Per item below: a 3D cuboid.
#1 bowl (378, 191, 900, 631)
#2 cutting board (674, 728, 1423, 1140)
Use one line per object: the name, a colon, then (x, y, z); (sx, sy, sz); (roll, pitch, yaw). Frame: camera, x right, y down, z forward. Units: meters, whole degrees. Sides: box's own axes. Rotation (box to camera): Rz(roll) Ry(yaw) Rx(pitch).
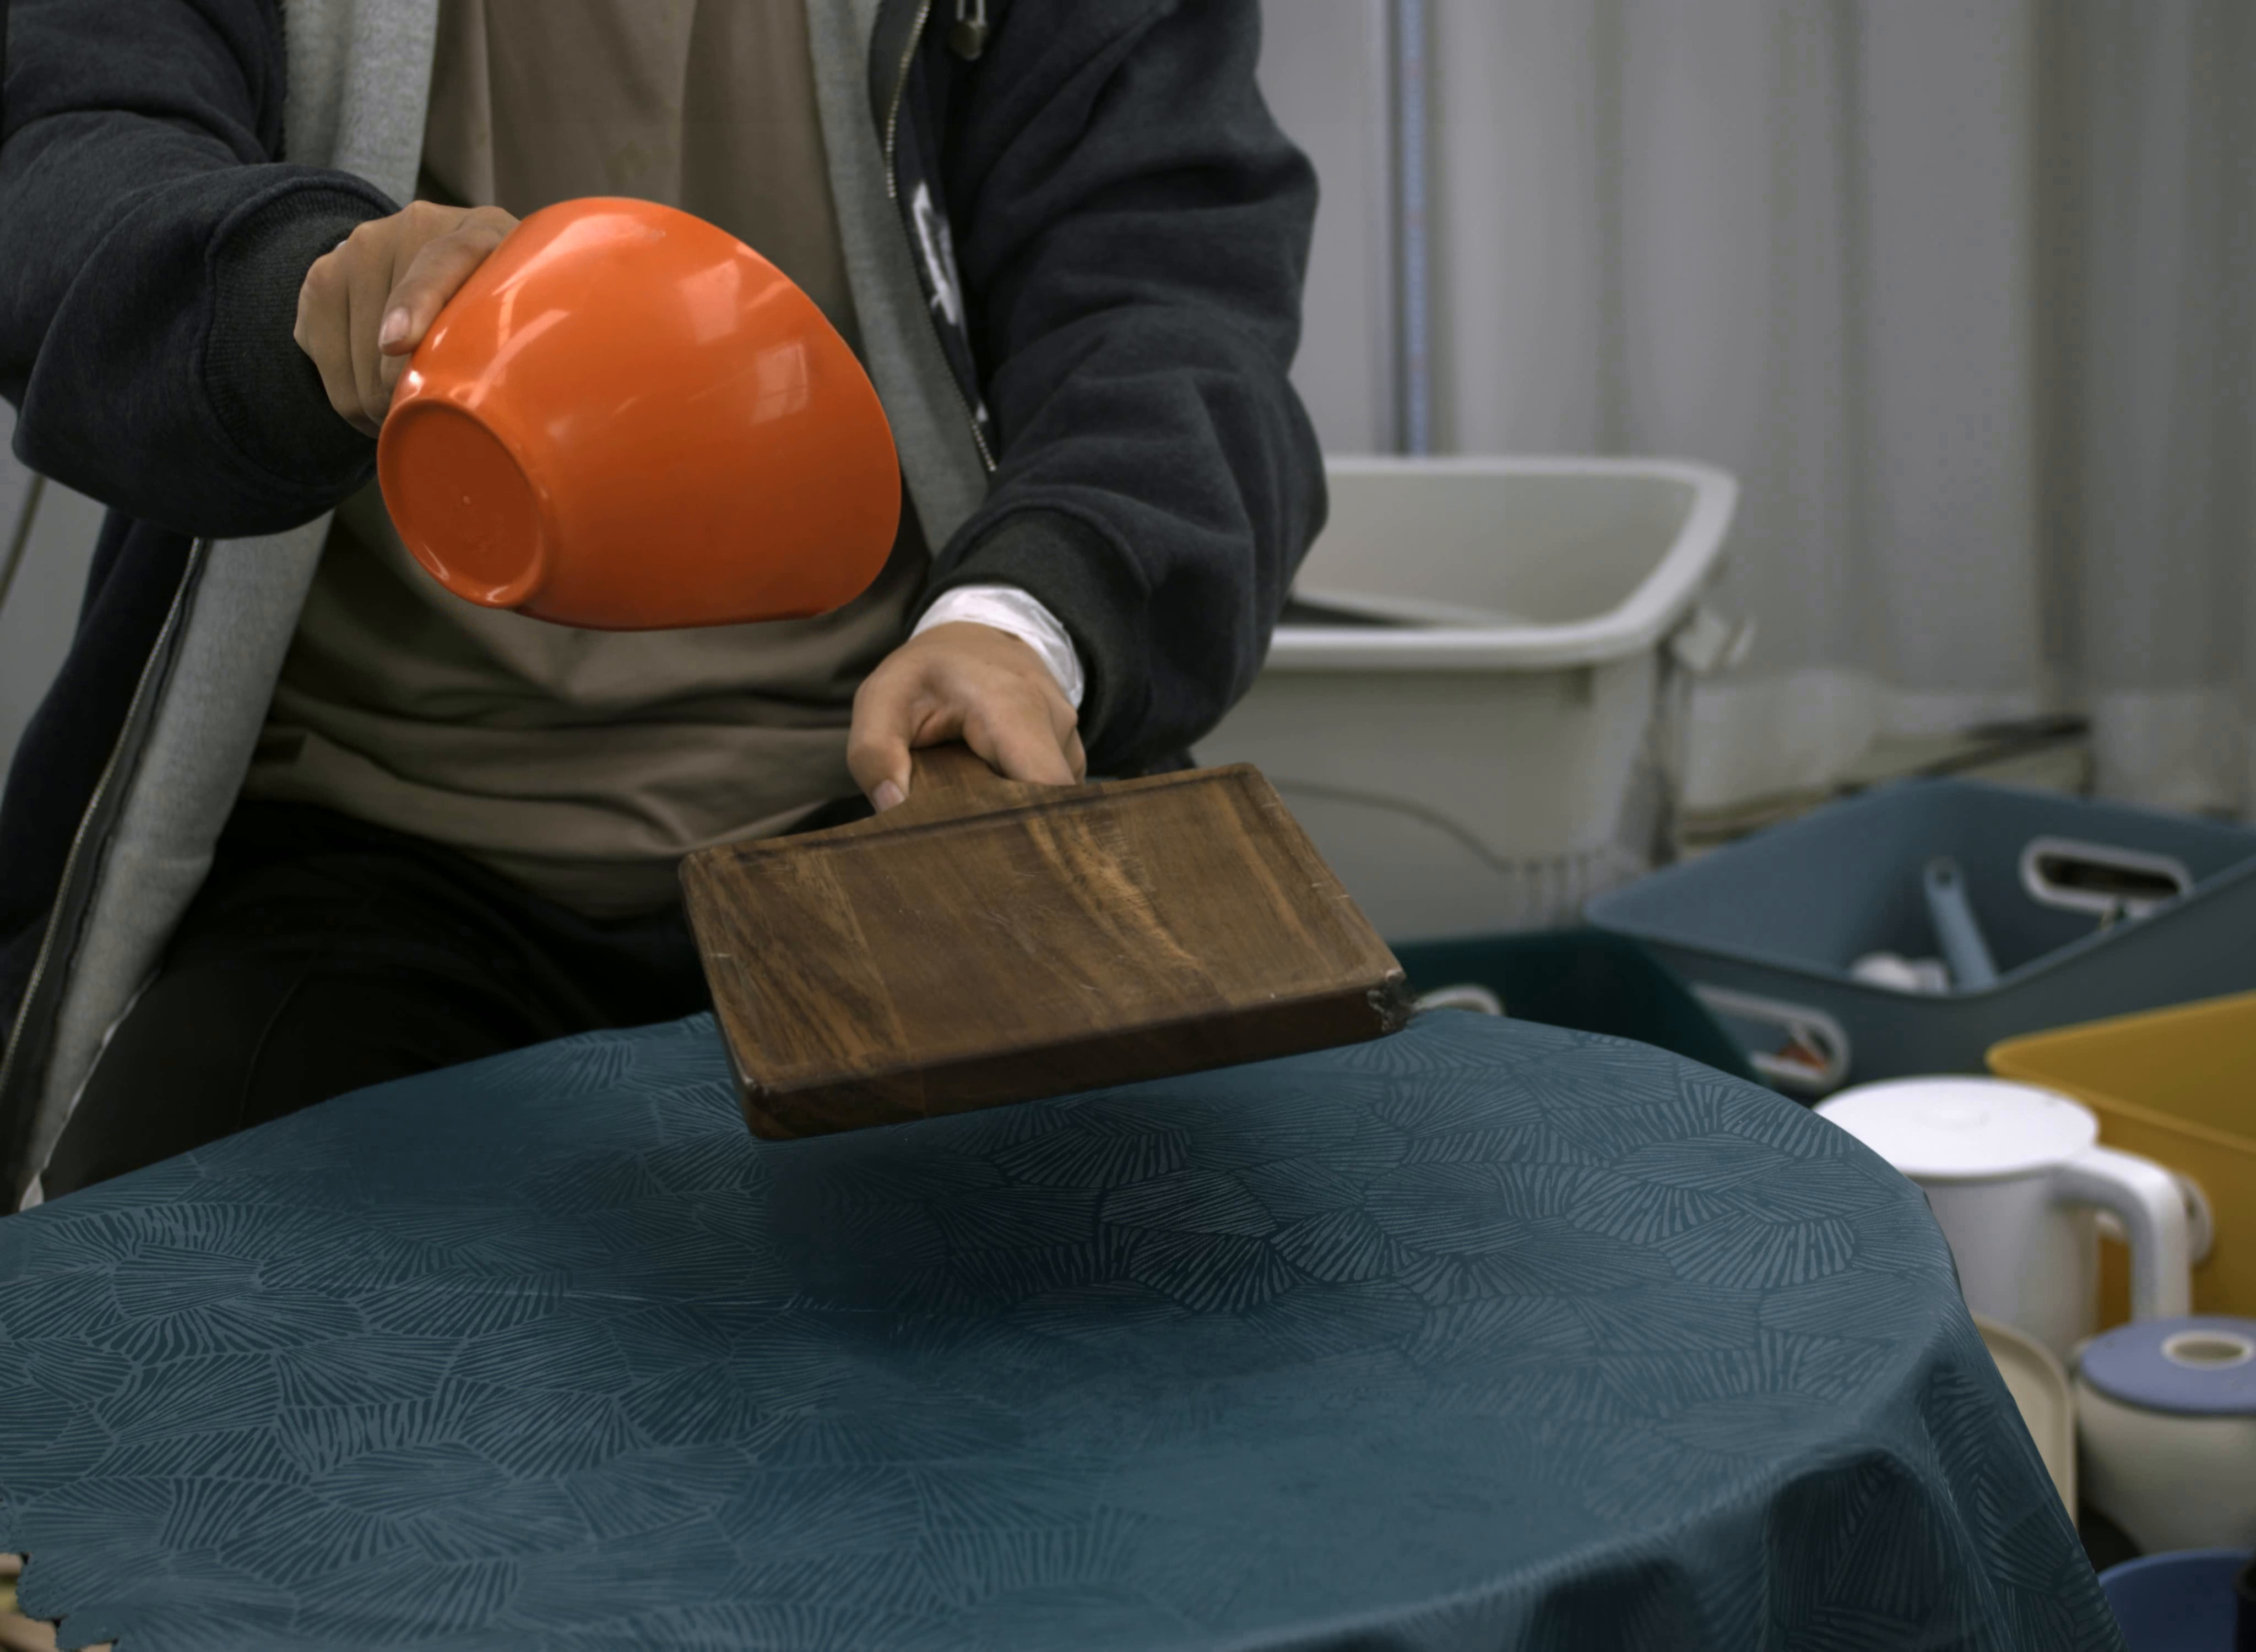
bowl: (-0.154, -0.106, 1.607); (0.149, 0.147, 0.105); (10, 32, 39)
cutting board: (-0.039, 0.021, 1.732); (0.200, 0.023, 0.355); (-10, 16, -7)
